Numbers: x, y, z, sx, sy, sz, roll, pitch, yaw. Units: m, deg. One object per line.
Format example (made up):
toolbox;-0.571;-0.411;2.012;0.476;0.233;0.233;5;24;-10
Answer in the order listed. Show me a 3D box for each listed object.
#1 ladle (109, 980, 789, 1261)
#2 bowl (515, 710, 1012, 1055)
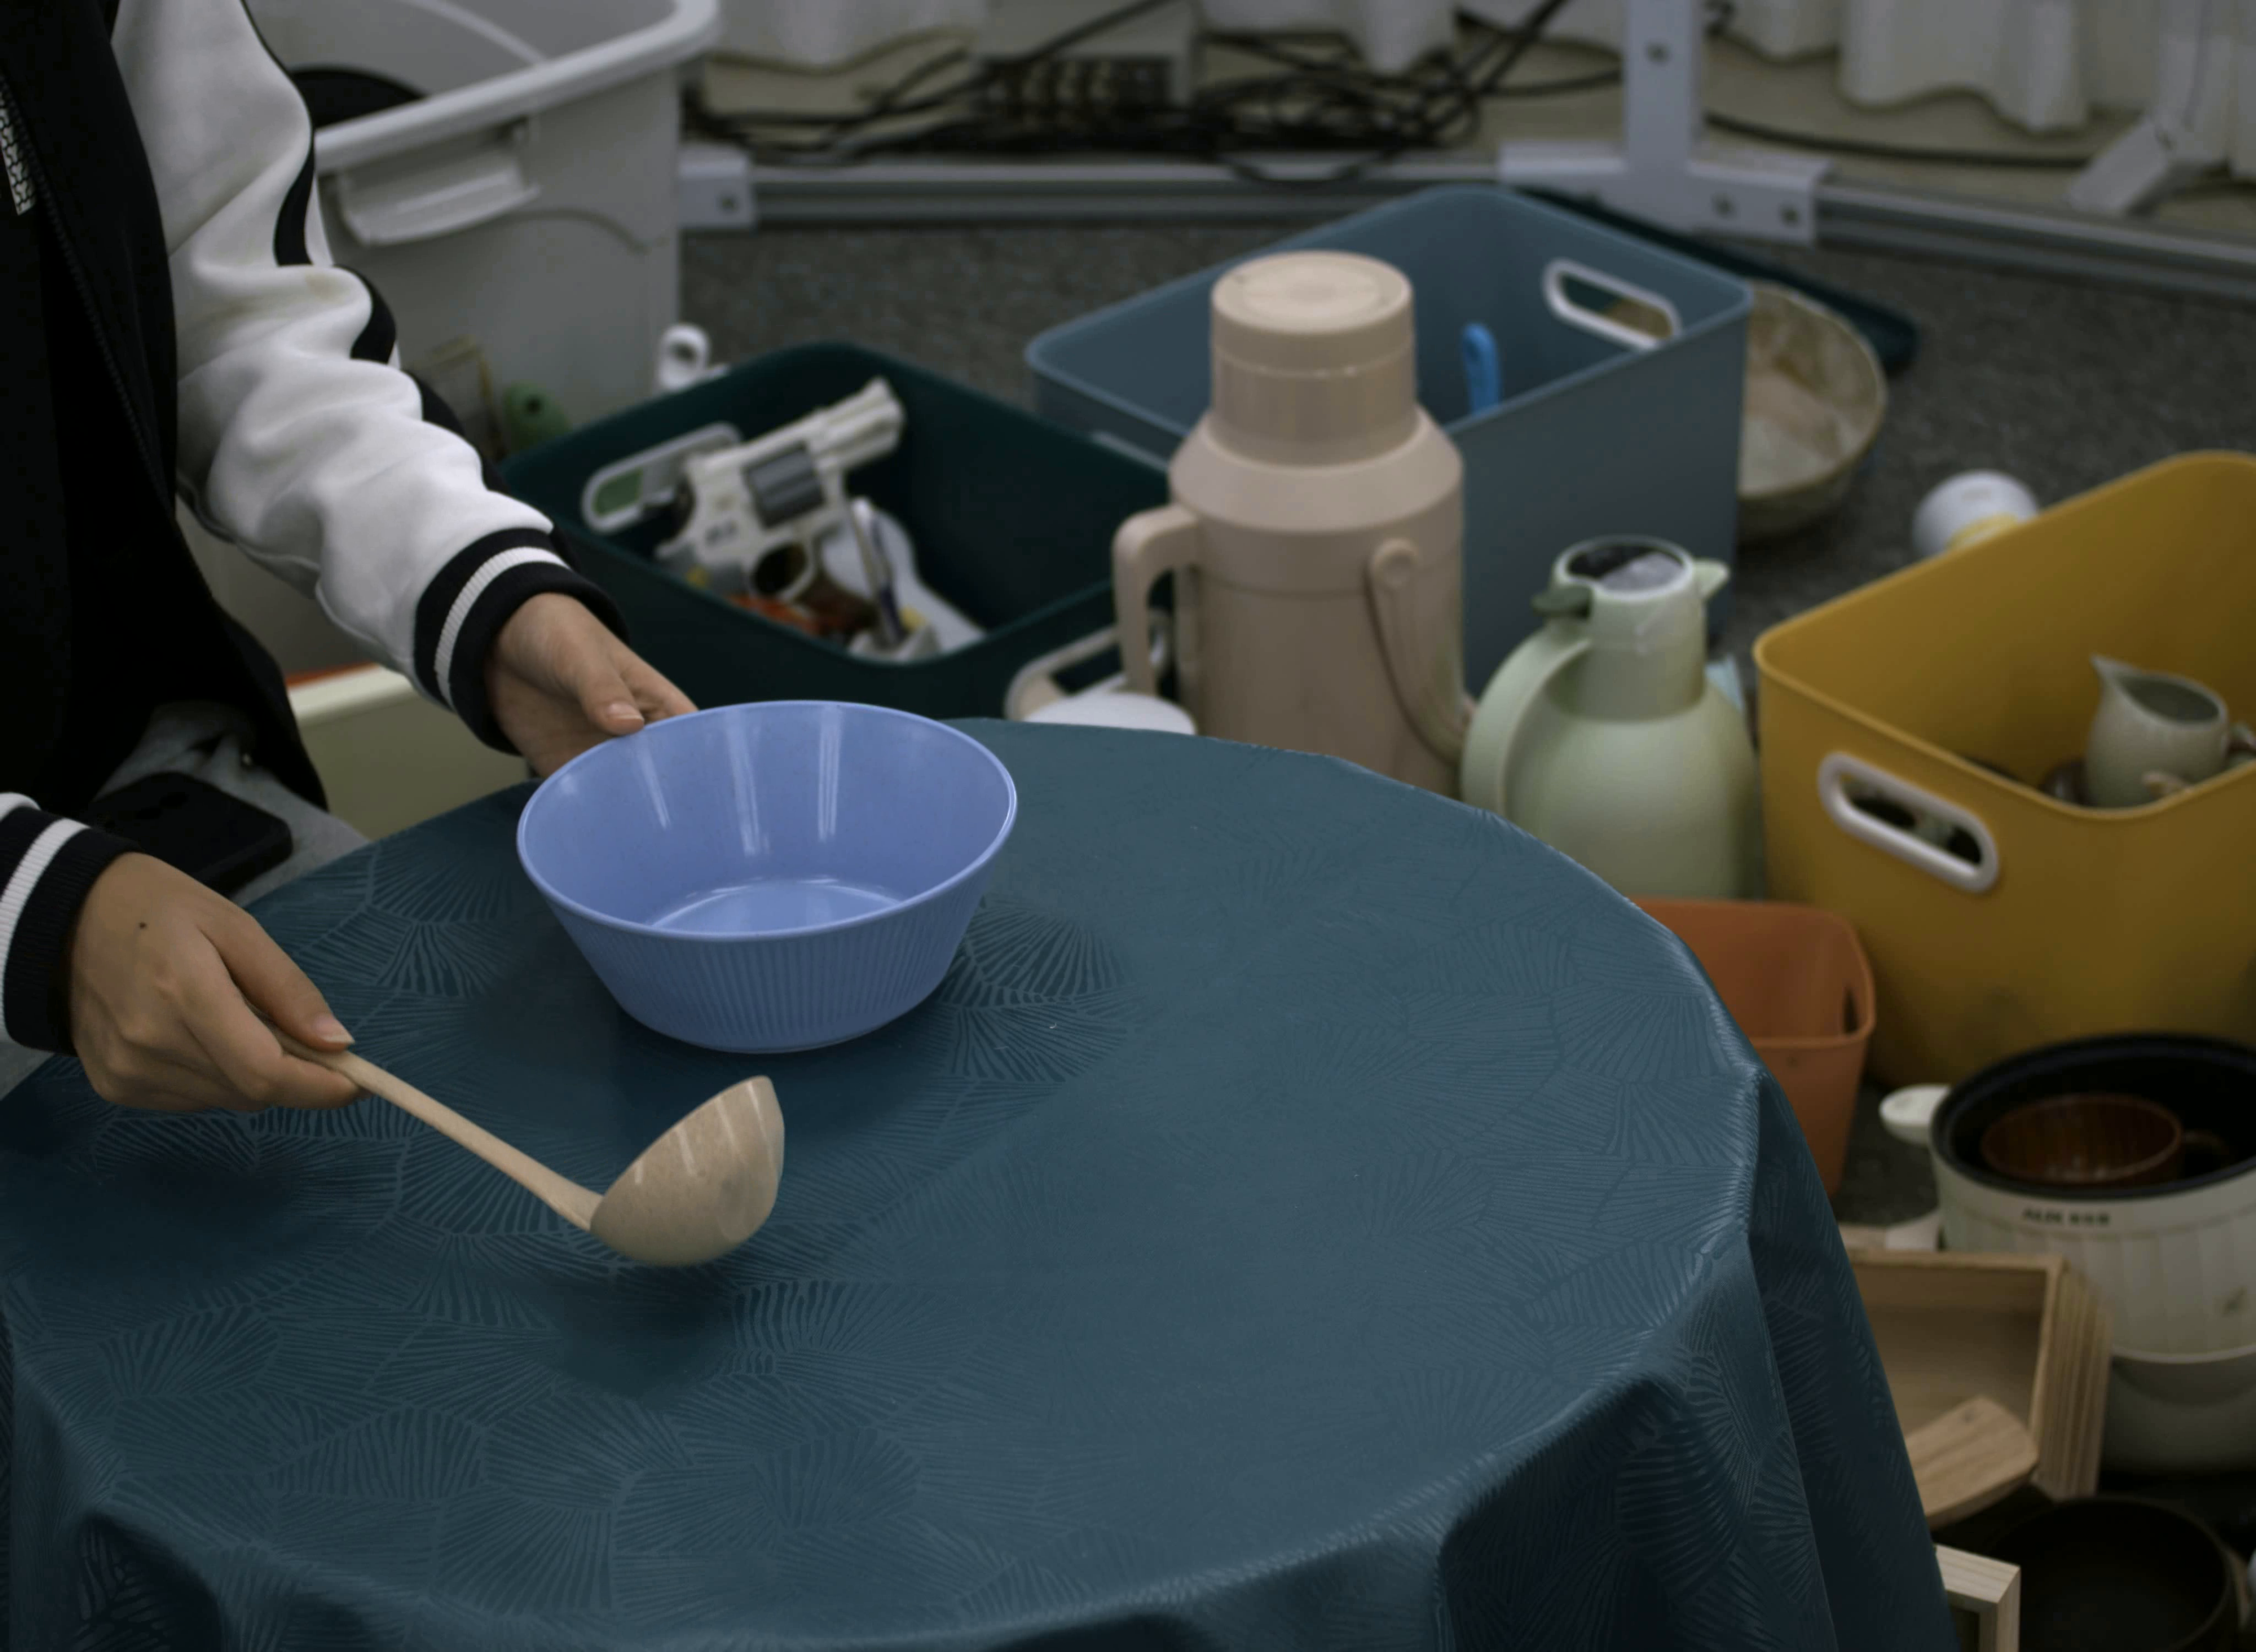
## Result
ladle;-0.226;0.069;1.838;0.254;0.072;0.073;23;20;22
bowl;-0.126;0.026;1.985;0.175;0.069;0.178;-2;26;1
